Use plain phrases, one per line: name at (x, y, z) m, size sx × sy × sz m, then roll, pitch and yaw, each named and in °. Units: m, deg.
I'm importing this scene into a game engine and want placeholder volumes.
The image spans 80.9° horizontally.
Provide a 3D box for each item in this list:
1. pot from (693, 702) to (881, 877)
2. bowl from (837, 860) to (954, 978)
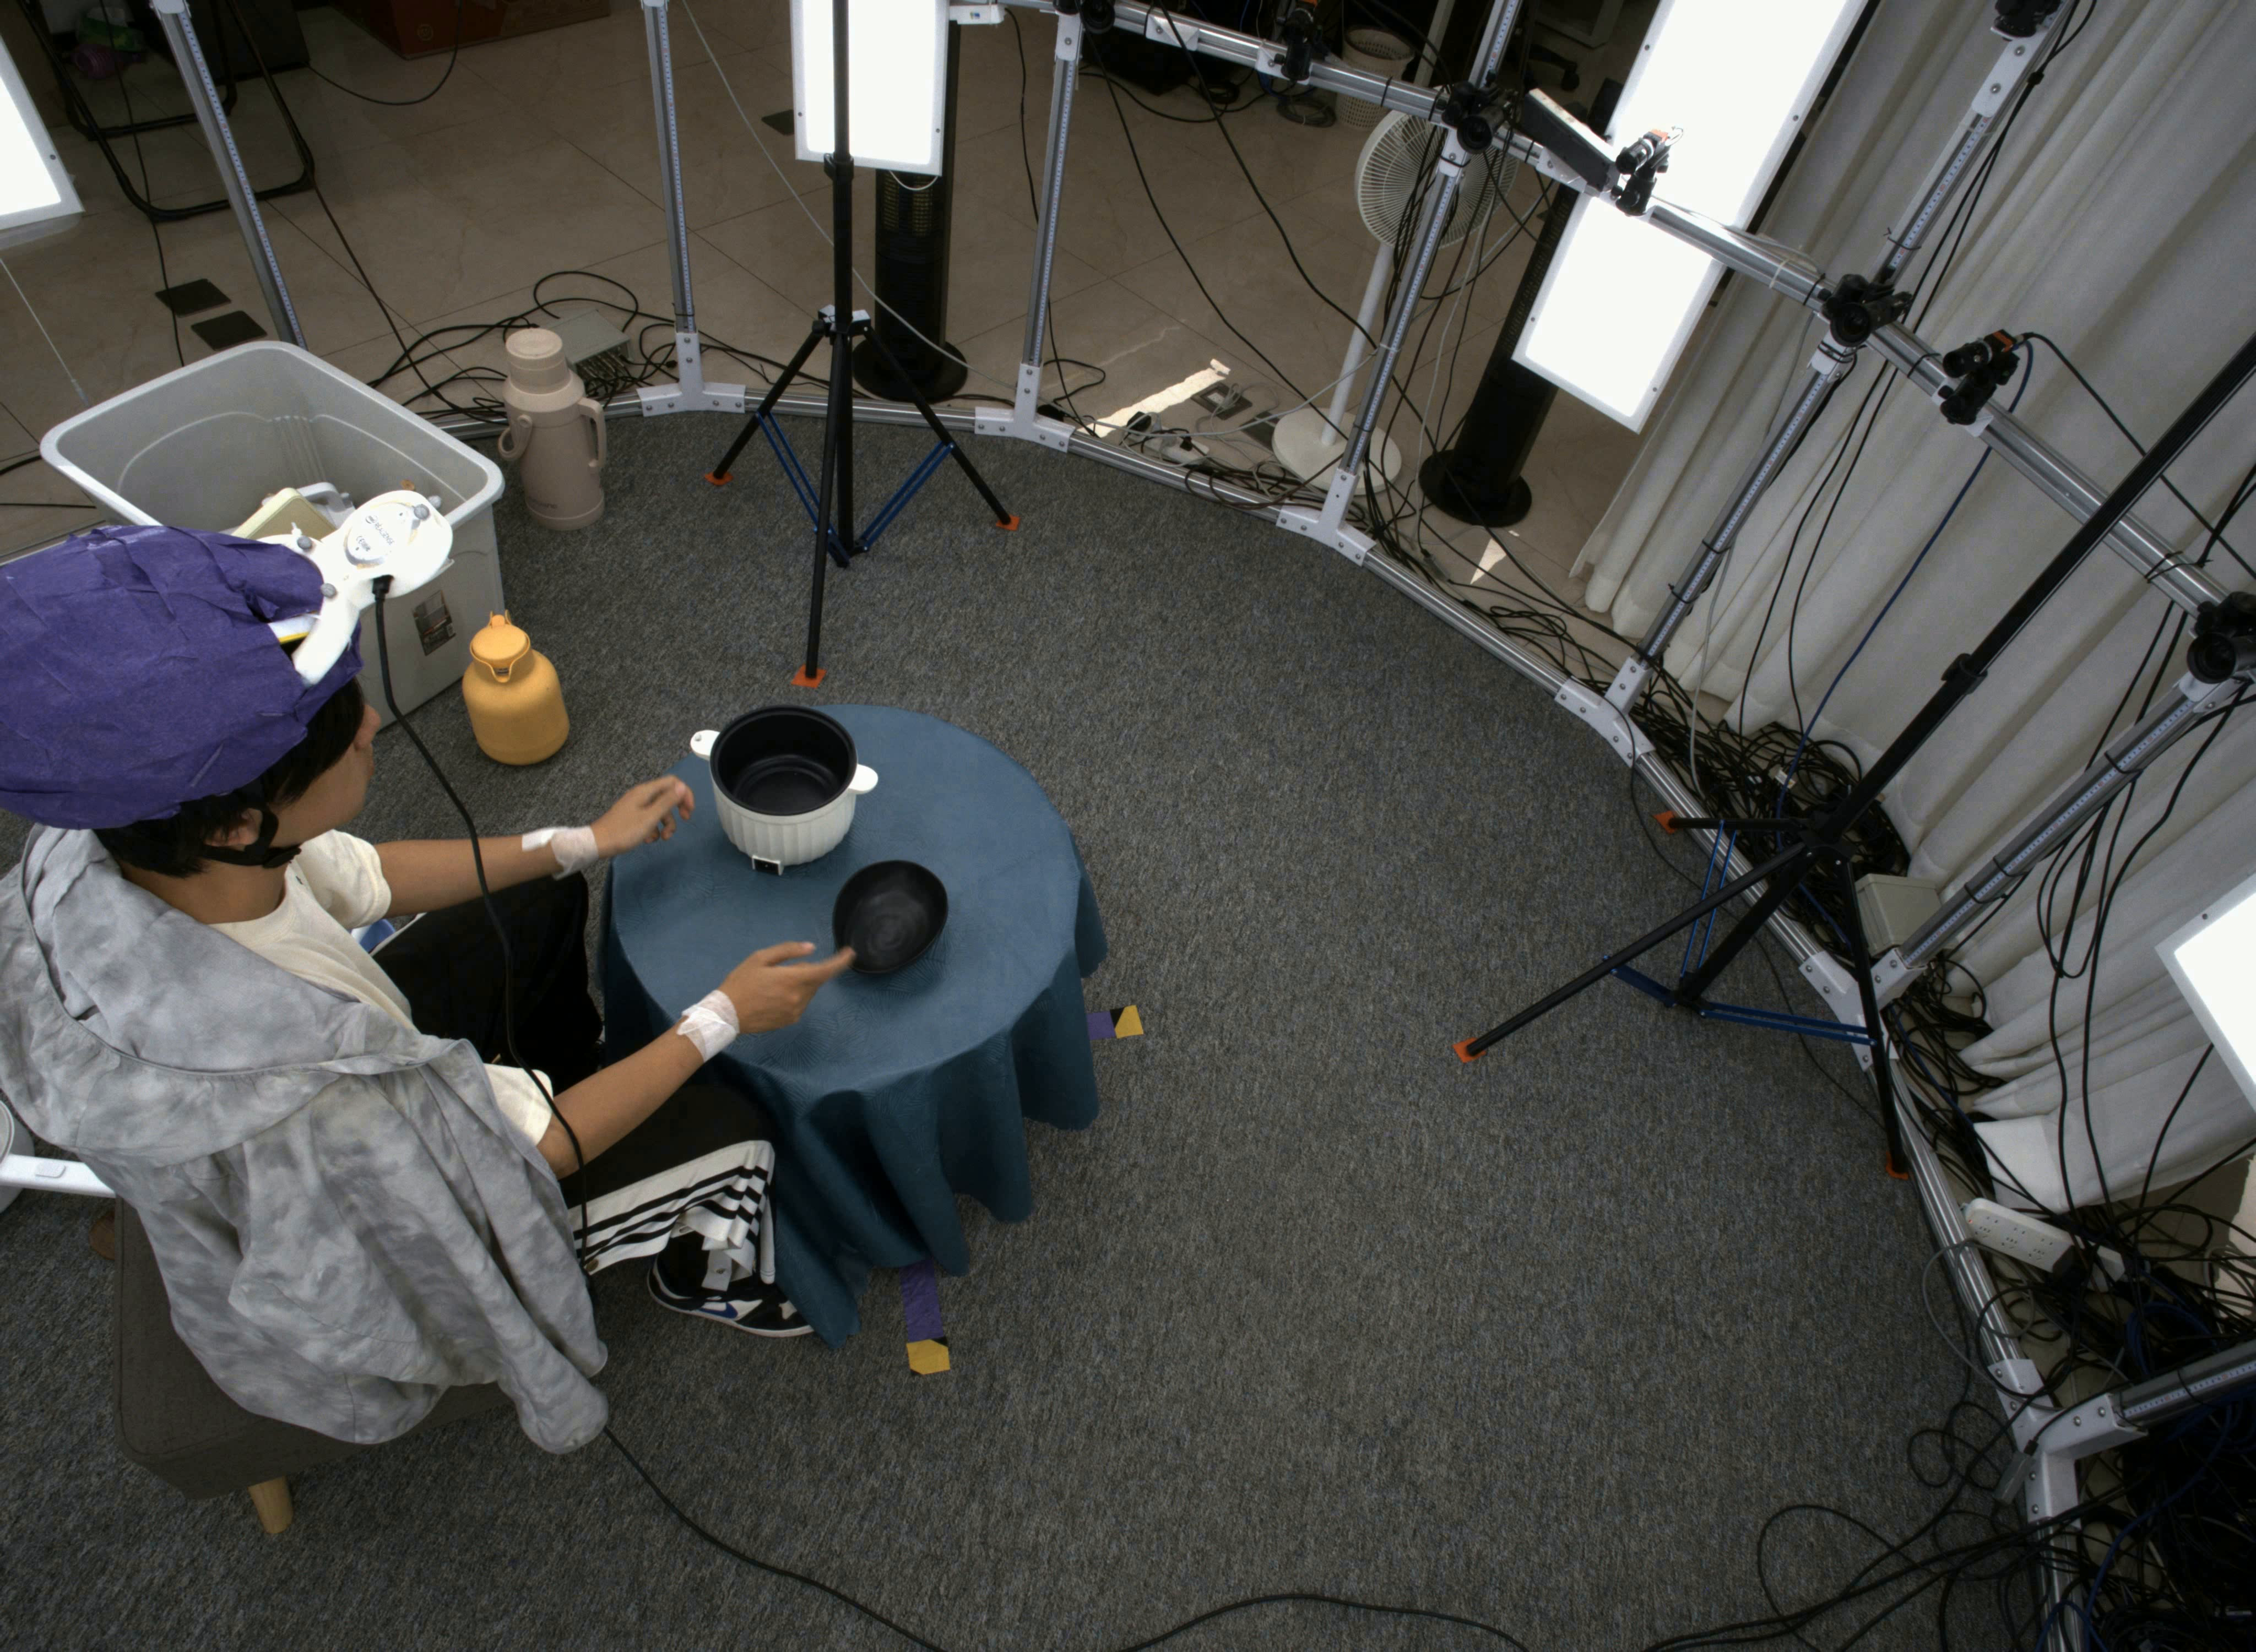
pot at (-0.435, -0.050, 1.672) m, size 0.239 × 0.145 × 0.188 m, roll 13°, pitch 55°, yaw -4°
bowl at (-0.290, 0.124, 1.626) m, size 0.136 × 0.068 × 0.168 m, roll 19°, pitch 53°, yaw 2°
